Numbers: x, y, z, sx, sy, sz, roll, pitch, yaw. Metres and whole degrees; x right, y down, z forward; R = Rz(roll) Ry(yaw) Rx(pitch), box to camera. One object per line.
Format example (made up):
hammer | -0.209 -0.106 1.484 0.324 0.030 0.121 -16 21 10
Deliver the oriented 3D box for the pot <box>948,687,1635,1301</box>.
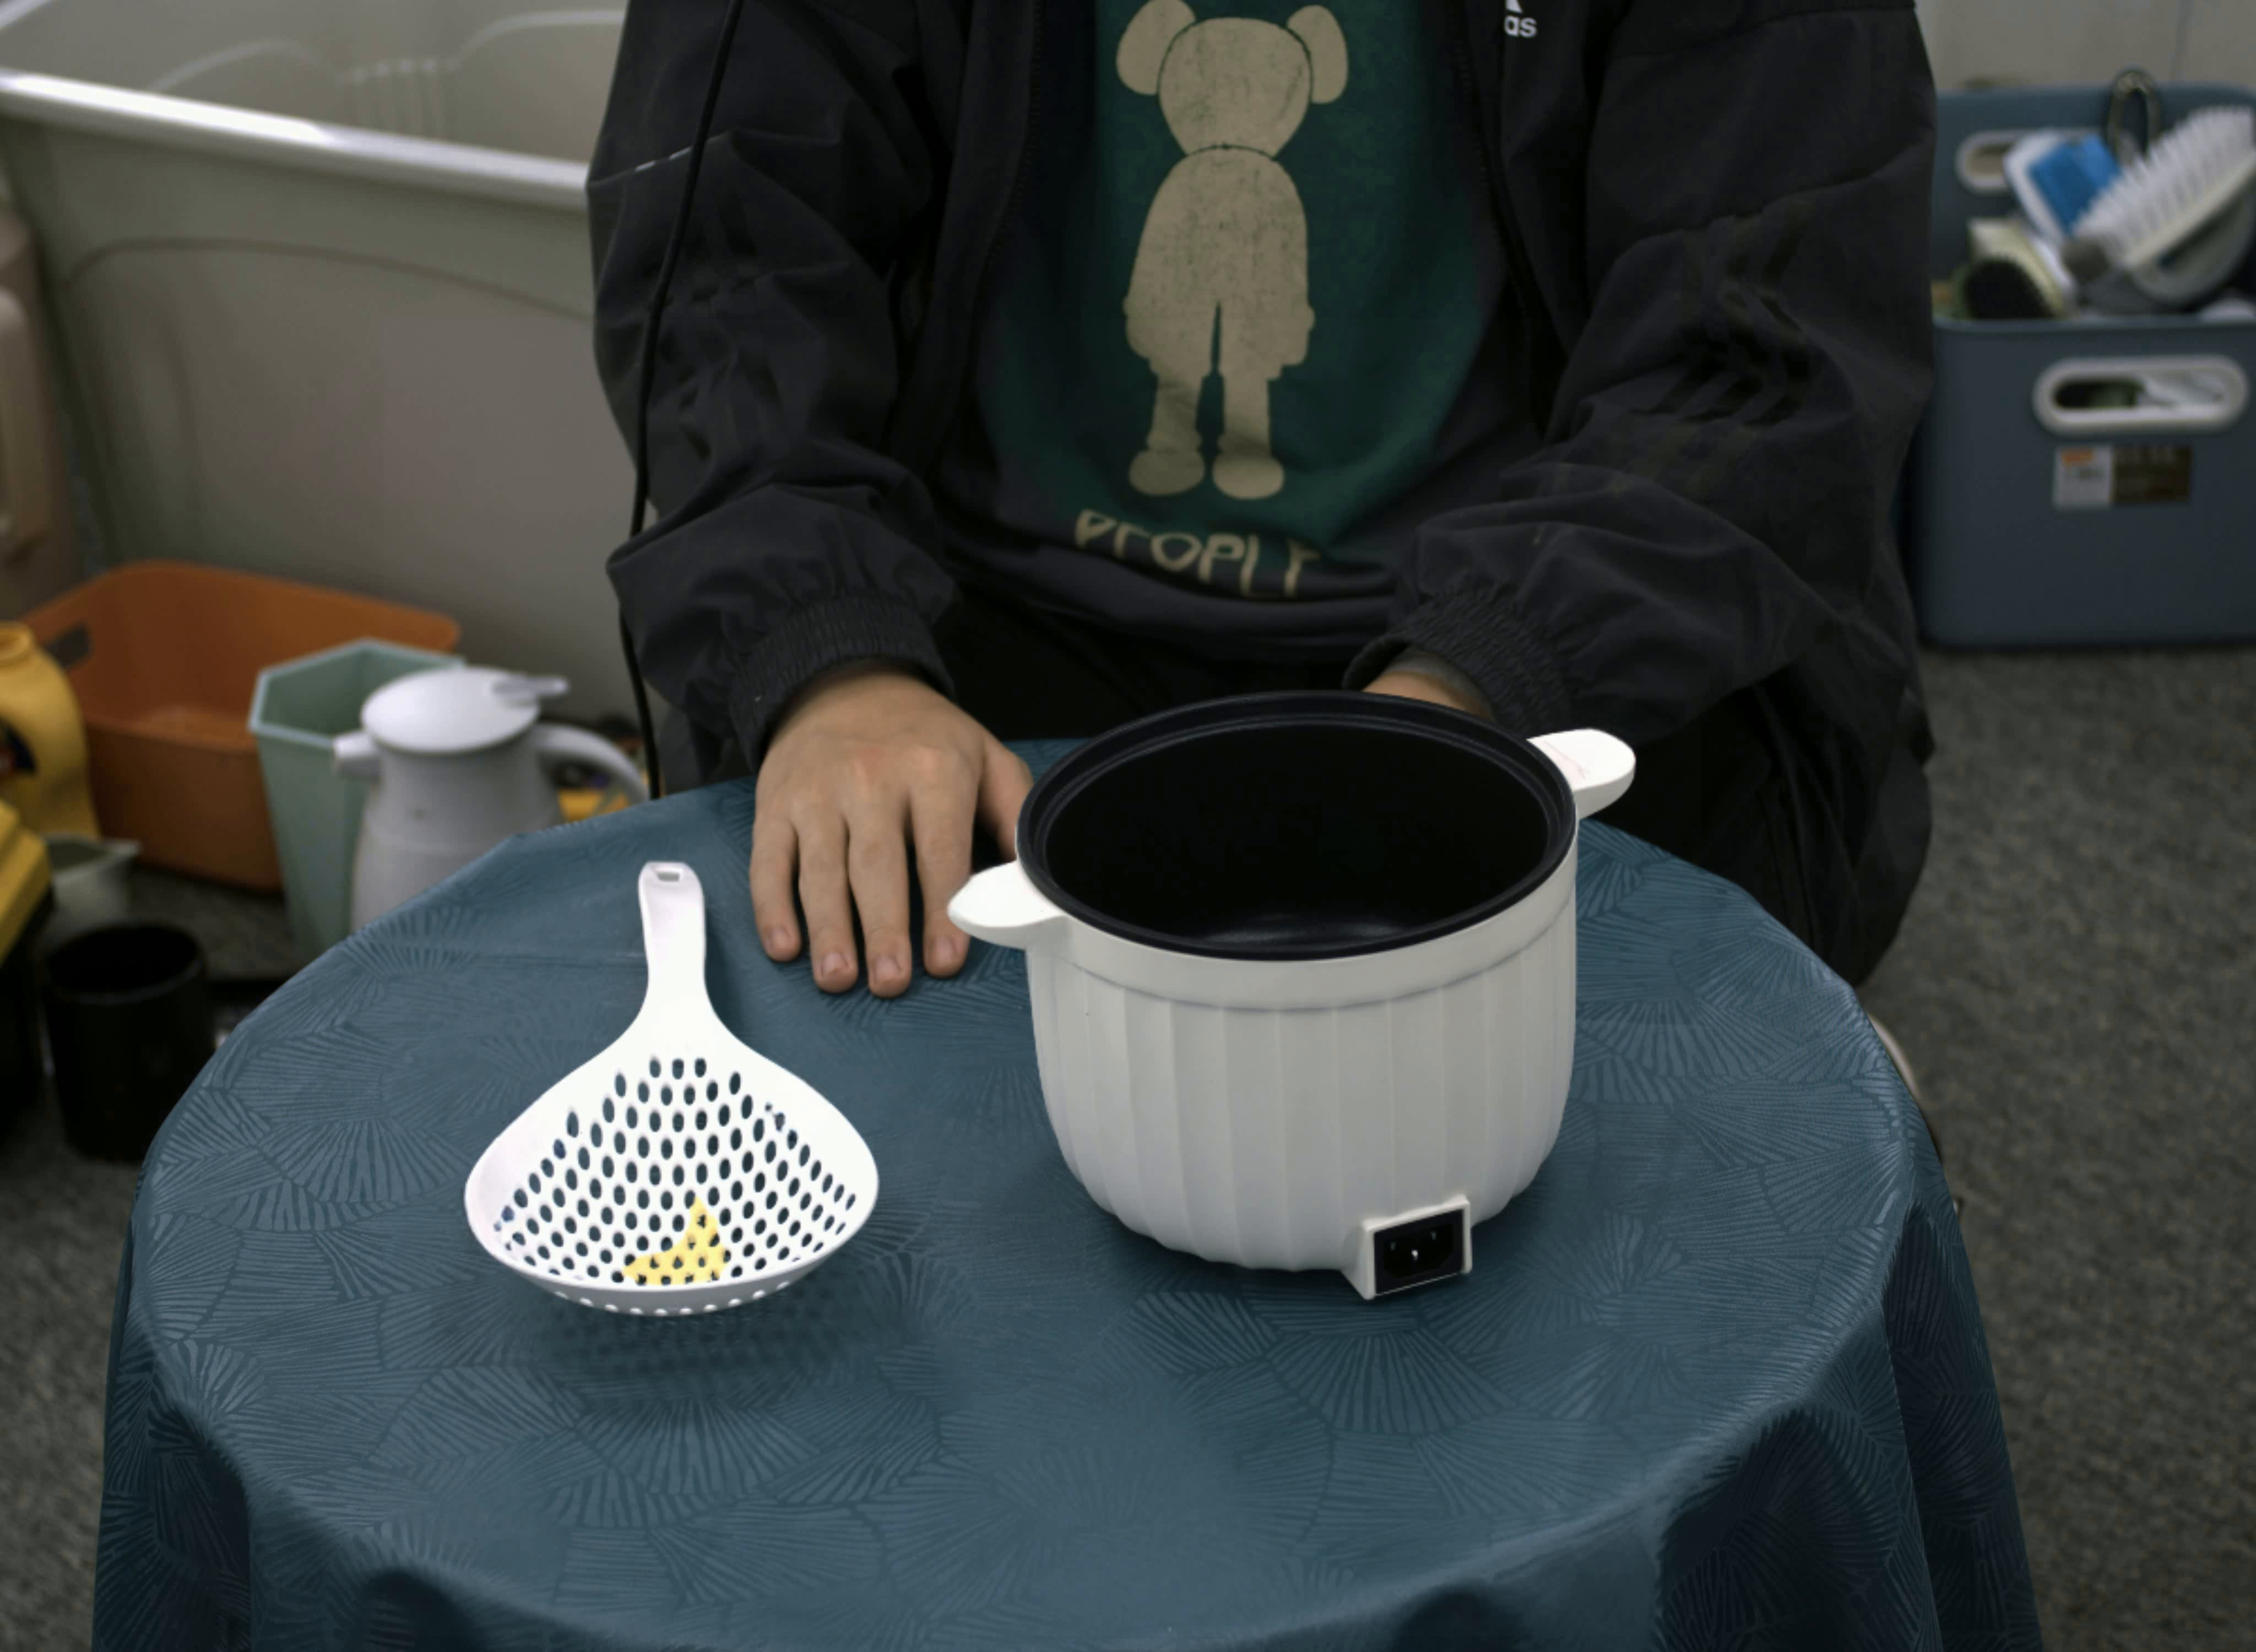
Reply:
pot | 0.054 0.053 1.837 0.241 0.141 0.192 -12 31 -20

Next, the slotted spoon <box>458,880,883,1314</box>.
slotted spoon | -0.155 0.080 1.909 0.136 0.050 0.353 -4 27 -3
